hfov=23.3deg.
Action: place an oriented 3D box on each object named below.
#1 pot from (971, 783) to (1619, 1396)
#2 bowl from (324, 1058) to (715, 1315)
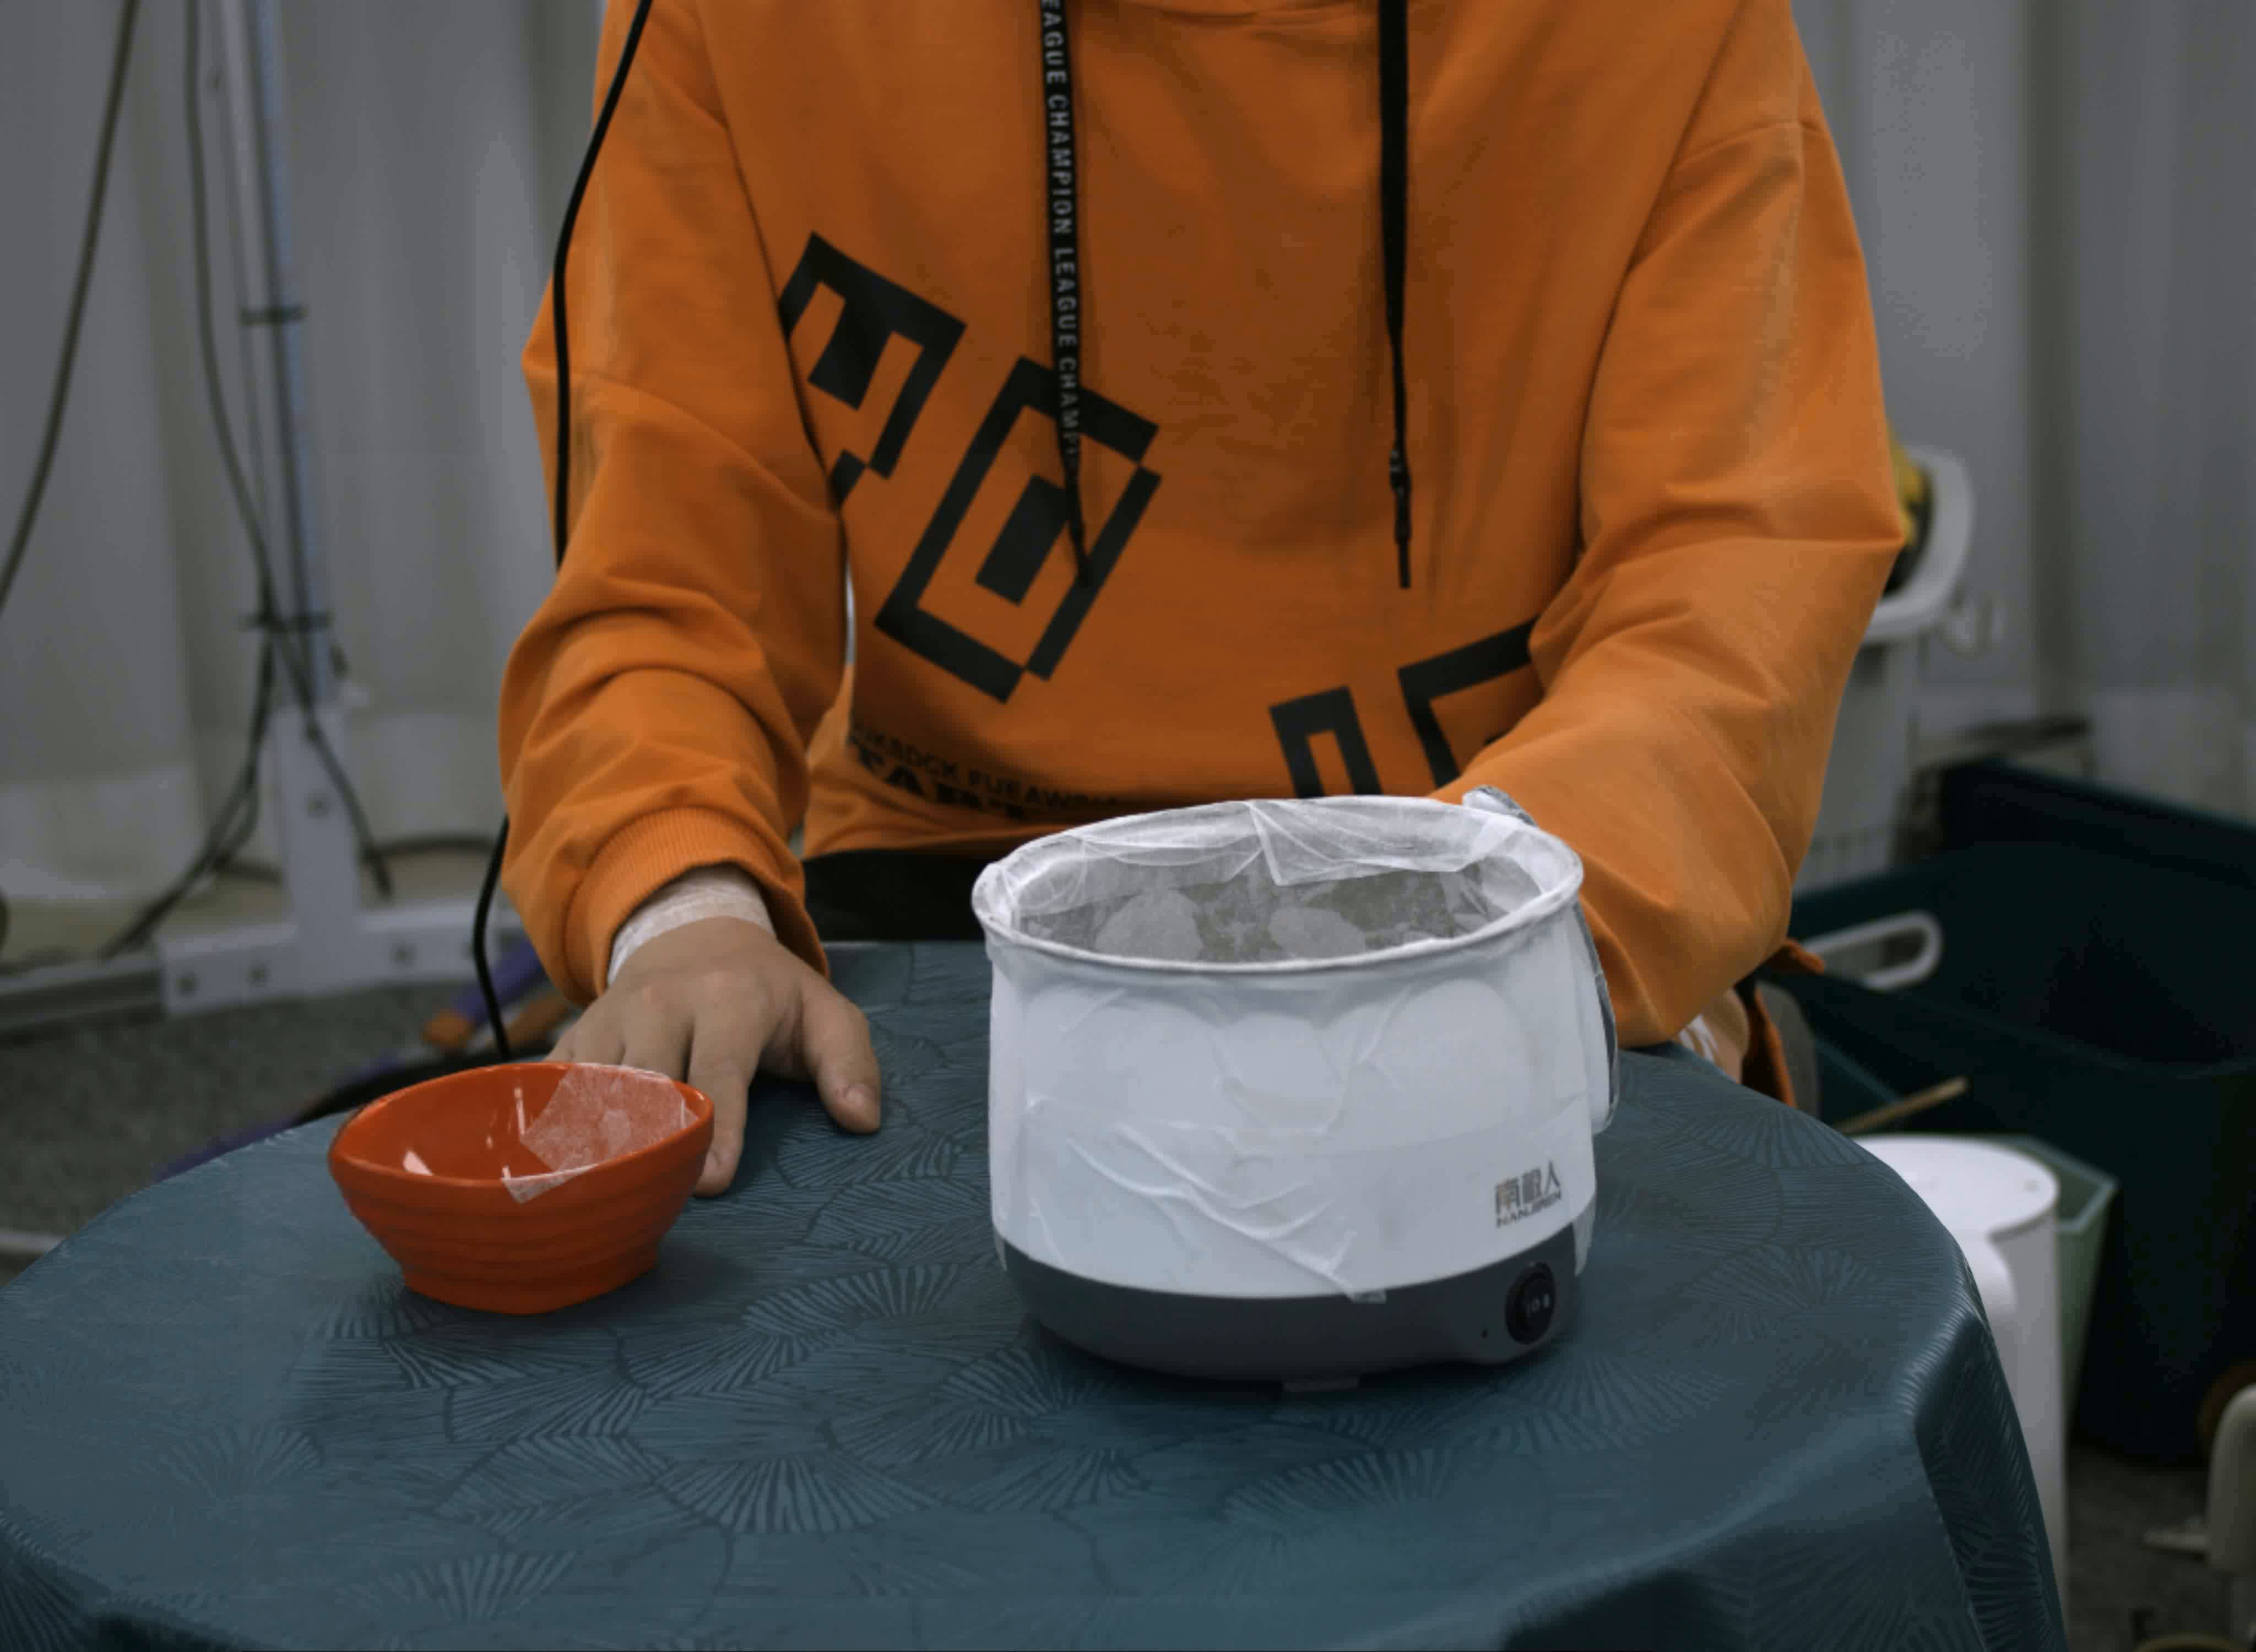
[{"bbox_3d":[0.064,0.070,1.608,0.179,0.136,0.233,9,19,38],"label":"pot"},{"bbox_3d":[-0.183,0.112,1.664,0.118,0.051,0.120,-4,15,1],"label":"bowl"}]
